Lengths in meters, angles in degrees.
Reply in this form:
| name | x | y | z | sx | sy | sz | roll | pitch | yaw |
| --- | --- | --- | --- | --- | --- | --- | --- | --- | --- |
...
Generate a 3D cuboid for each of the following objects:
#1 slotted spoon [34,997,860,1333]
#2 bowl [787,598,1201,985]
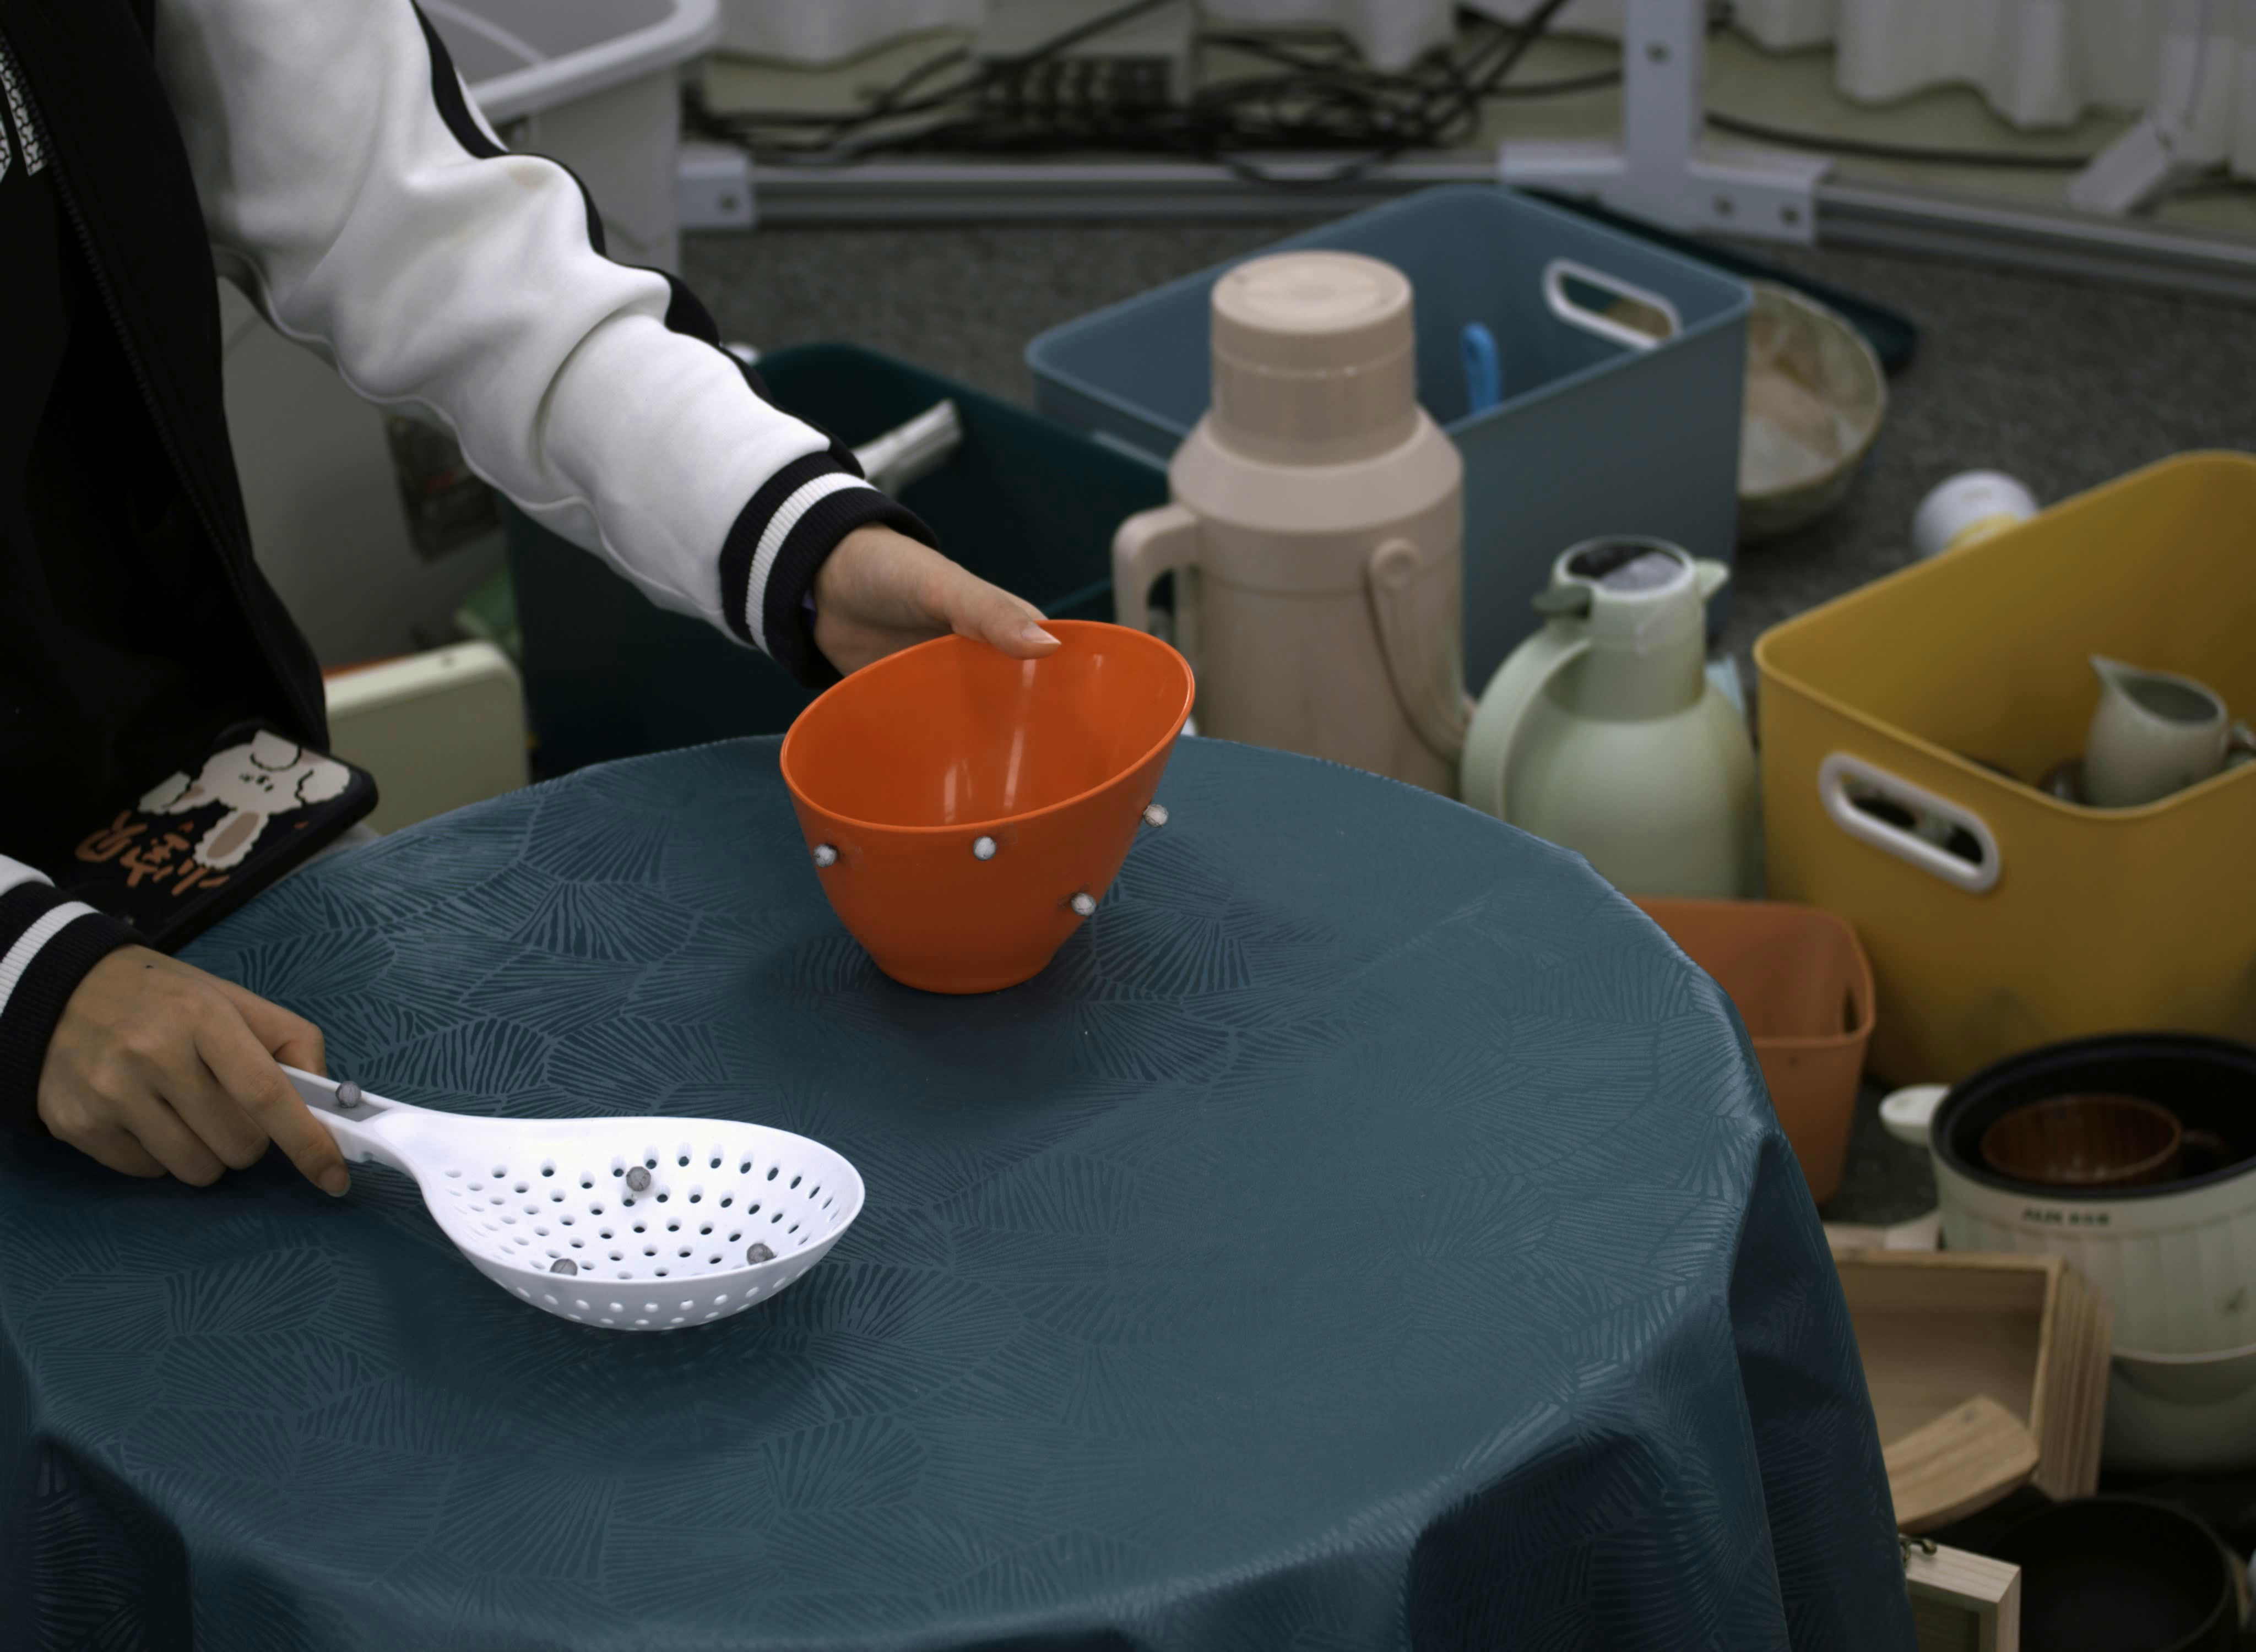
| name | x | y | z | sx | sy | sz | roll | pitch | yaw |
| --- | --- | --- | --- | --- | --- | --- | --- | --- | --- |
| slotted spoon | -0.238 | 0.105 | 1.858 | 0.348 | 0.045 | 0.137 | 19 | 26 | 34 |
| bowl | -0.045 | -0.005 | 1.987 | 0.147 | 0.103 | 0.150 | -3 | 34 | 2 |
